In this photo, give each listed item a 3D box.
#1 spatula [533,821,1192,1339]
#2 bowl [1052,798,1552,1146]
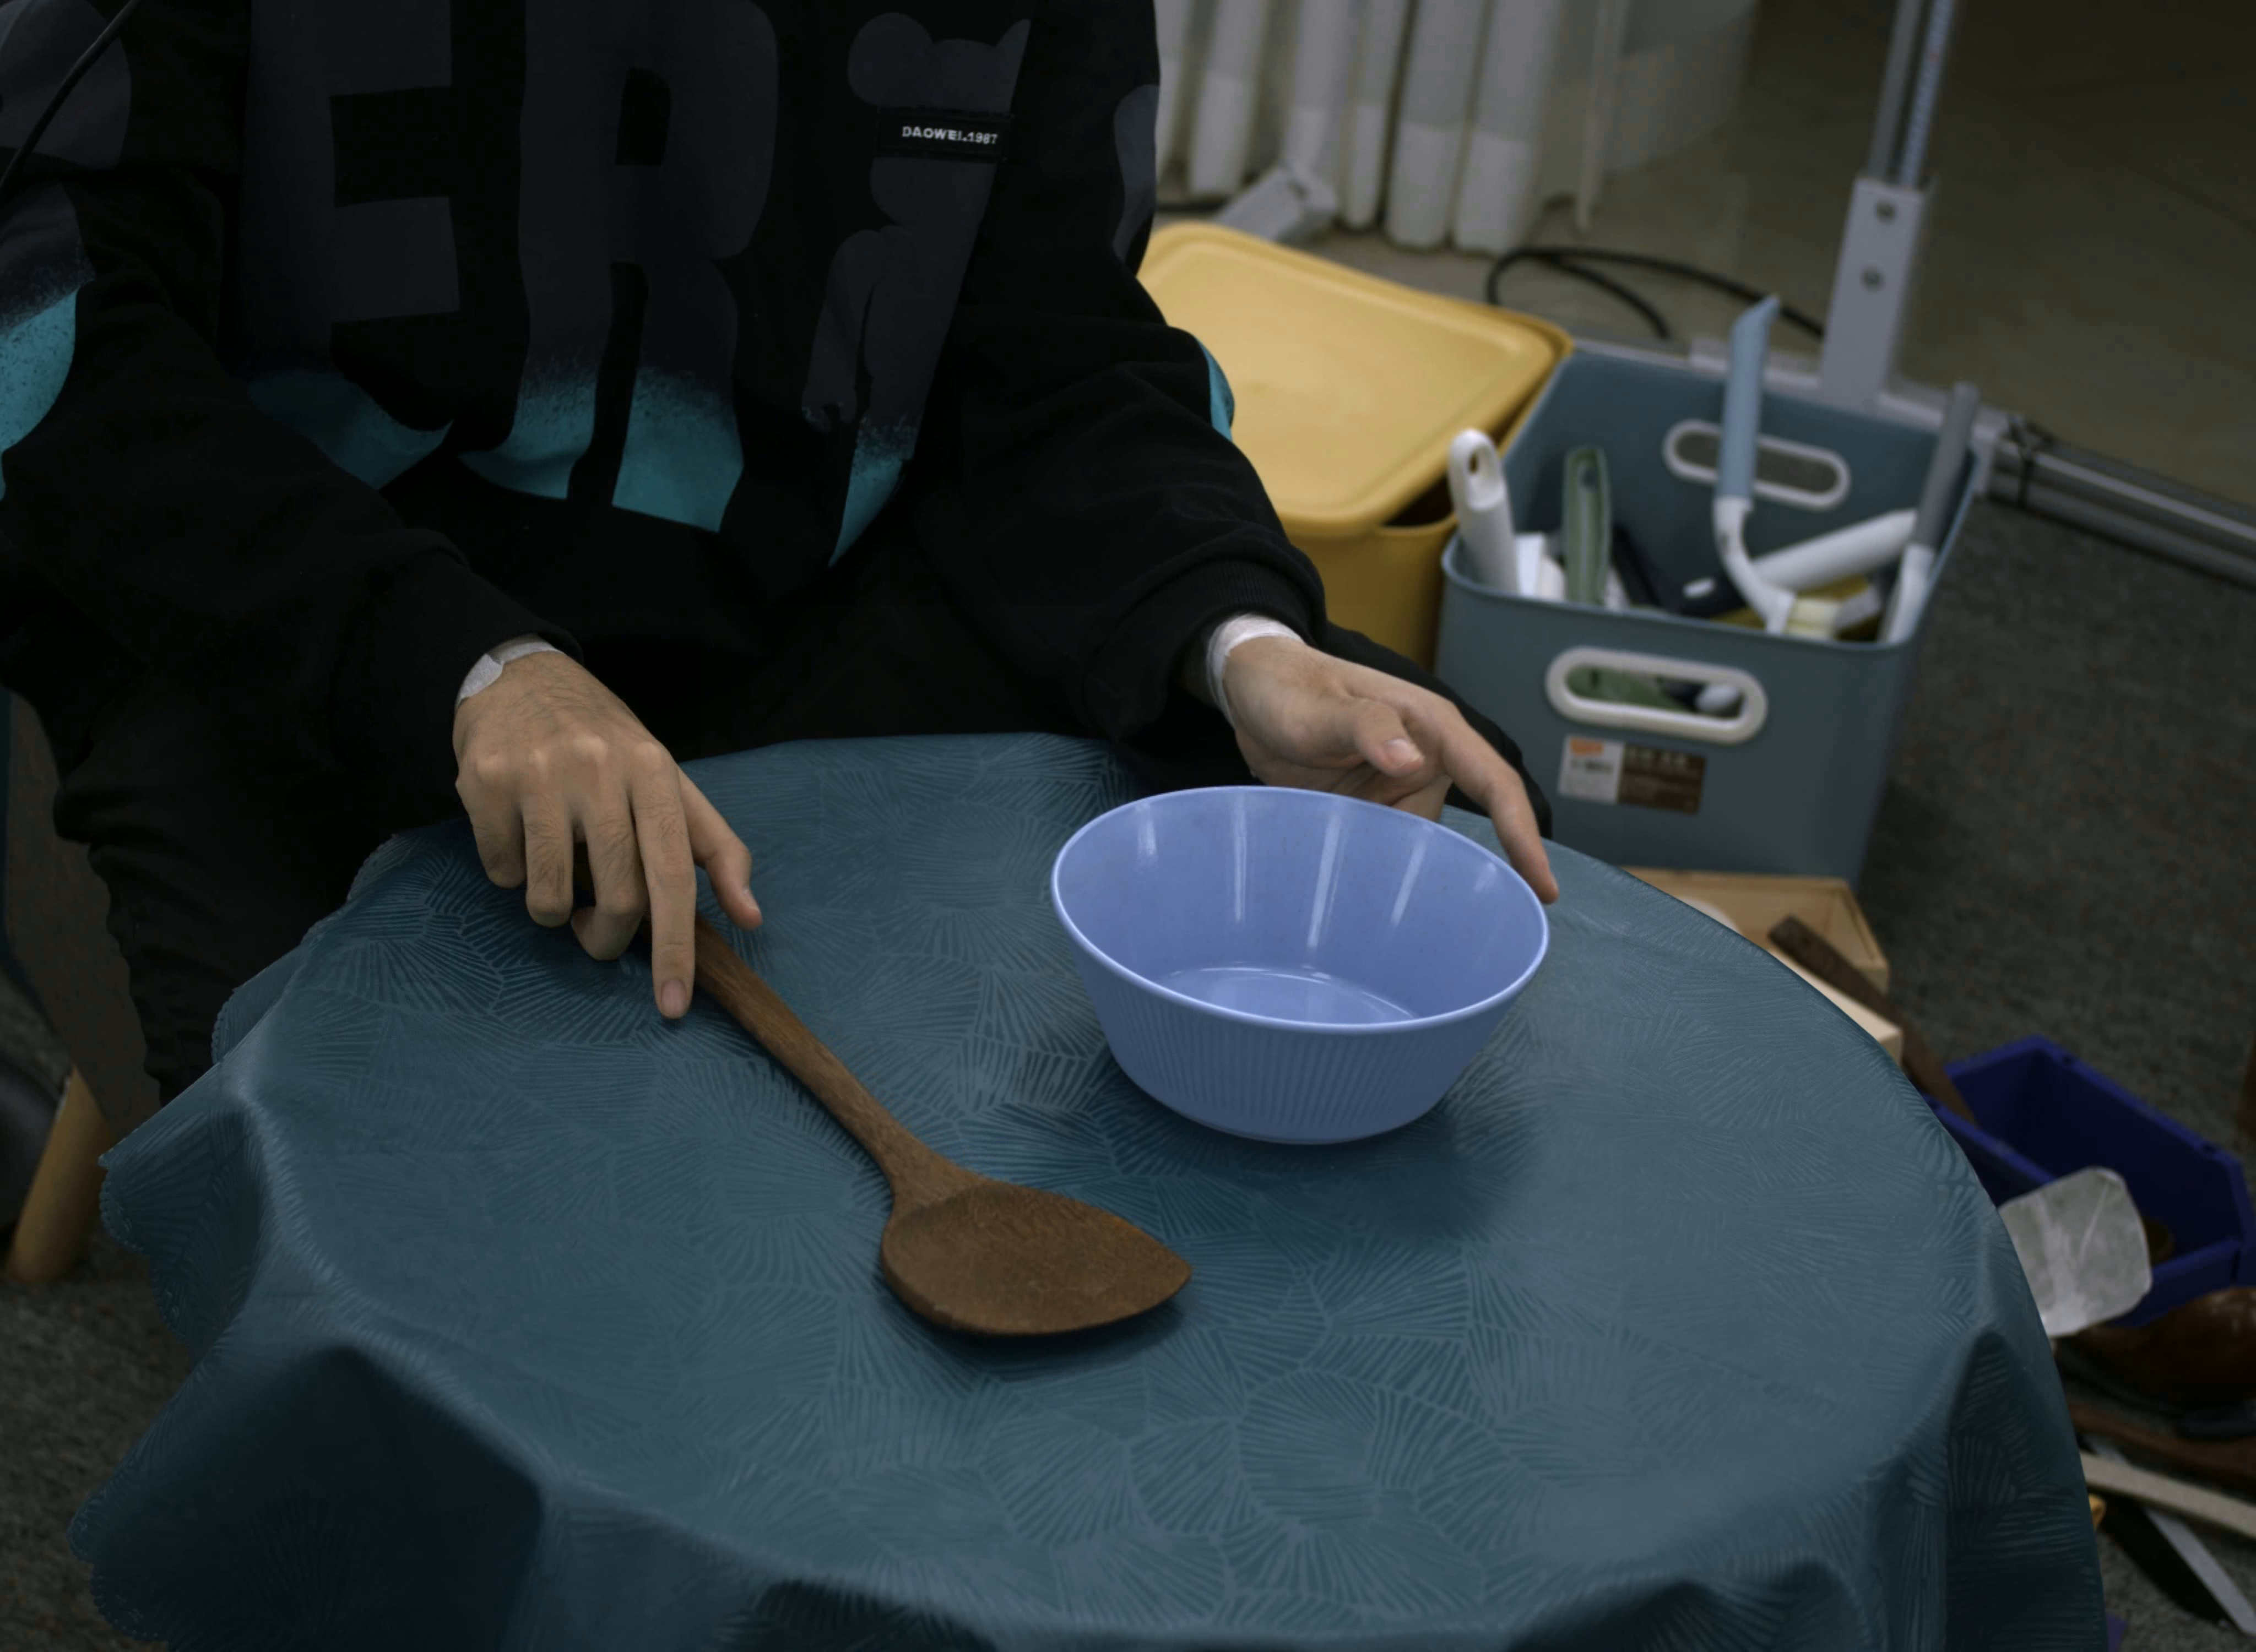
[{"bbox_3d":[-0.113,0.080,1.845,0.095,0.016,0.389,-10,31,-31],"label":"spatula"},{"bbox_3d":[0.058,0.057,1.870,0.175,0.070,0.177,5,25,-3],"label":"bowl"}]
